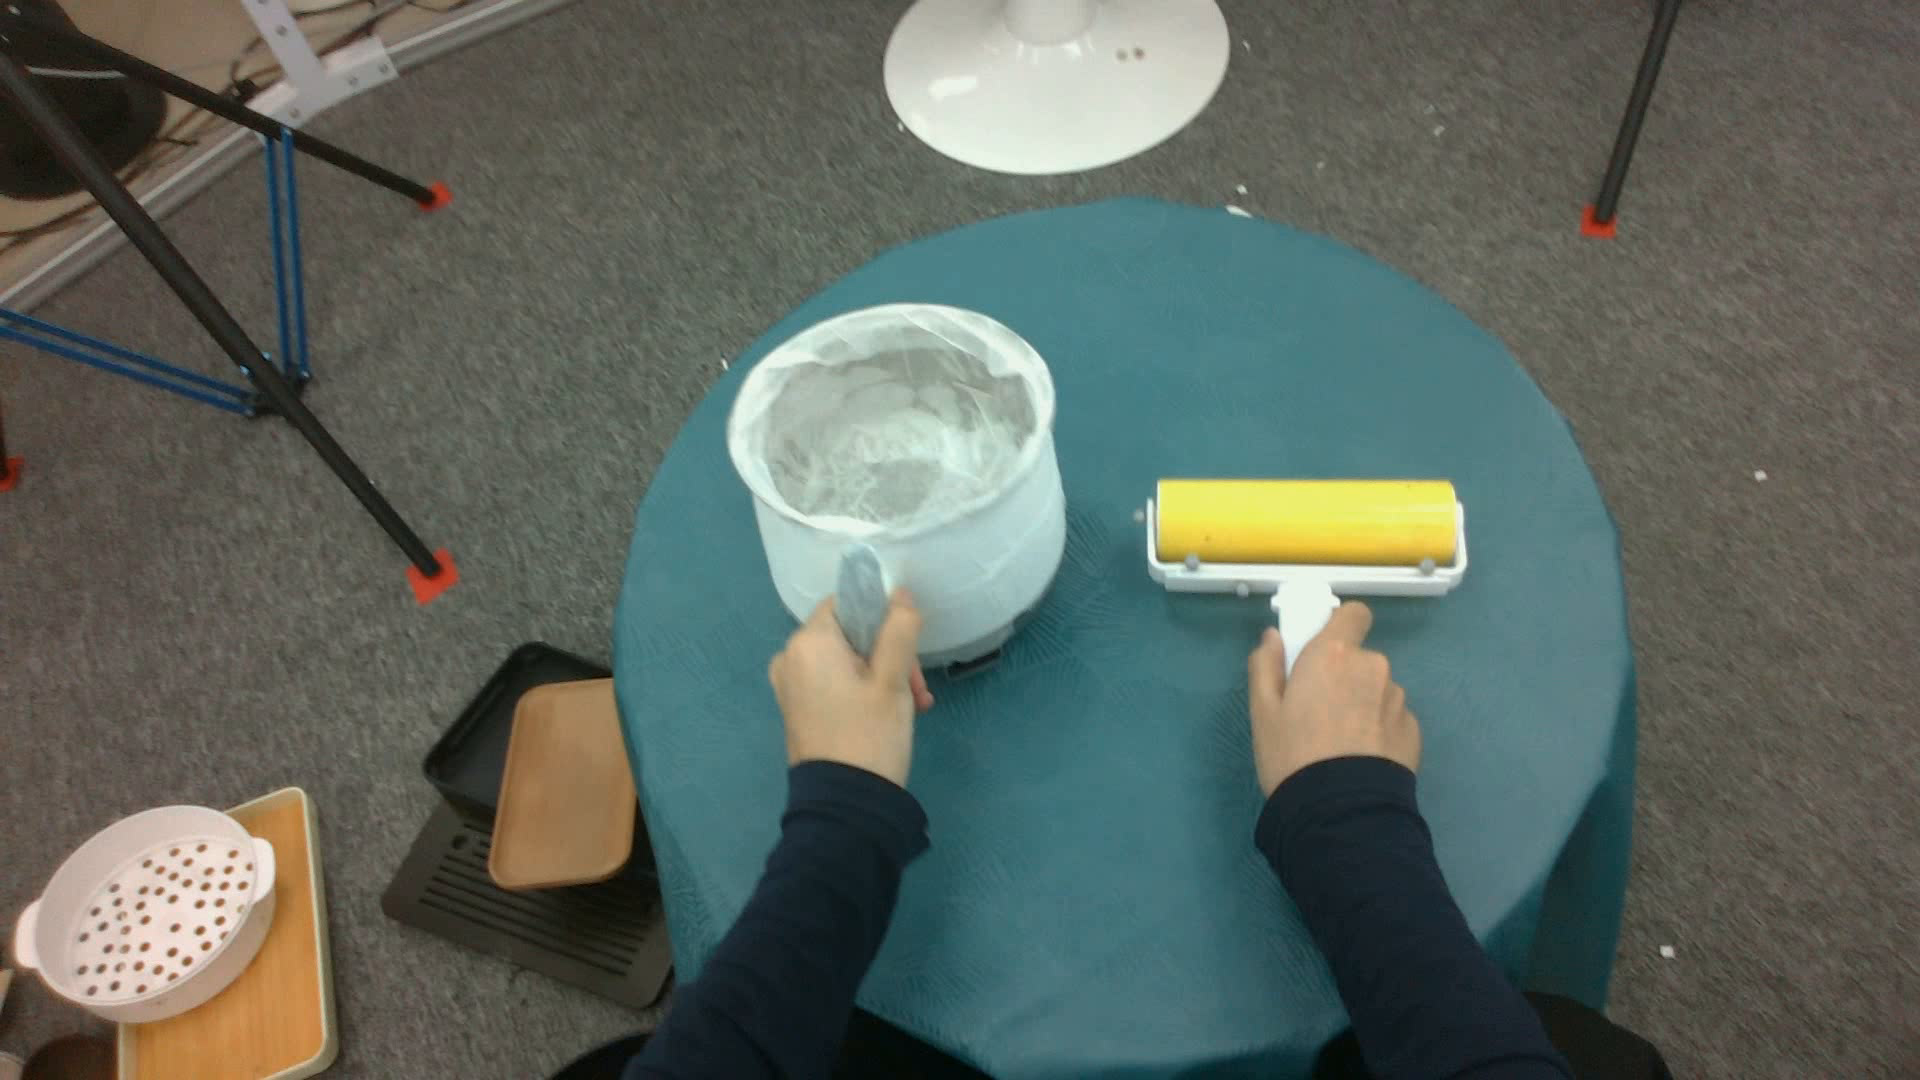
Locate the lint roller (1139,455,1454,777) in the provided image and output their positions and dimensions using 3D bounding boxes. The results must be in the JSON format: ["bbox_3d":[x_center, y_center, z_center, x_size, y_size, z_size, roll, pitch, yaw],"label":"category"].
[{"bbox_3d":[0.185,0.033,0.743,0.174,0.051,0.193,-1,48,7],"label":"lint roller"}]

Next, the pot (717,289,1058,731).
[{"bbox_3d":[-0.038,-0.017,0.762,0.178,0.136,0.235,0,47,9],"label":"pot"}]
